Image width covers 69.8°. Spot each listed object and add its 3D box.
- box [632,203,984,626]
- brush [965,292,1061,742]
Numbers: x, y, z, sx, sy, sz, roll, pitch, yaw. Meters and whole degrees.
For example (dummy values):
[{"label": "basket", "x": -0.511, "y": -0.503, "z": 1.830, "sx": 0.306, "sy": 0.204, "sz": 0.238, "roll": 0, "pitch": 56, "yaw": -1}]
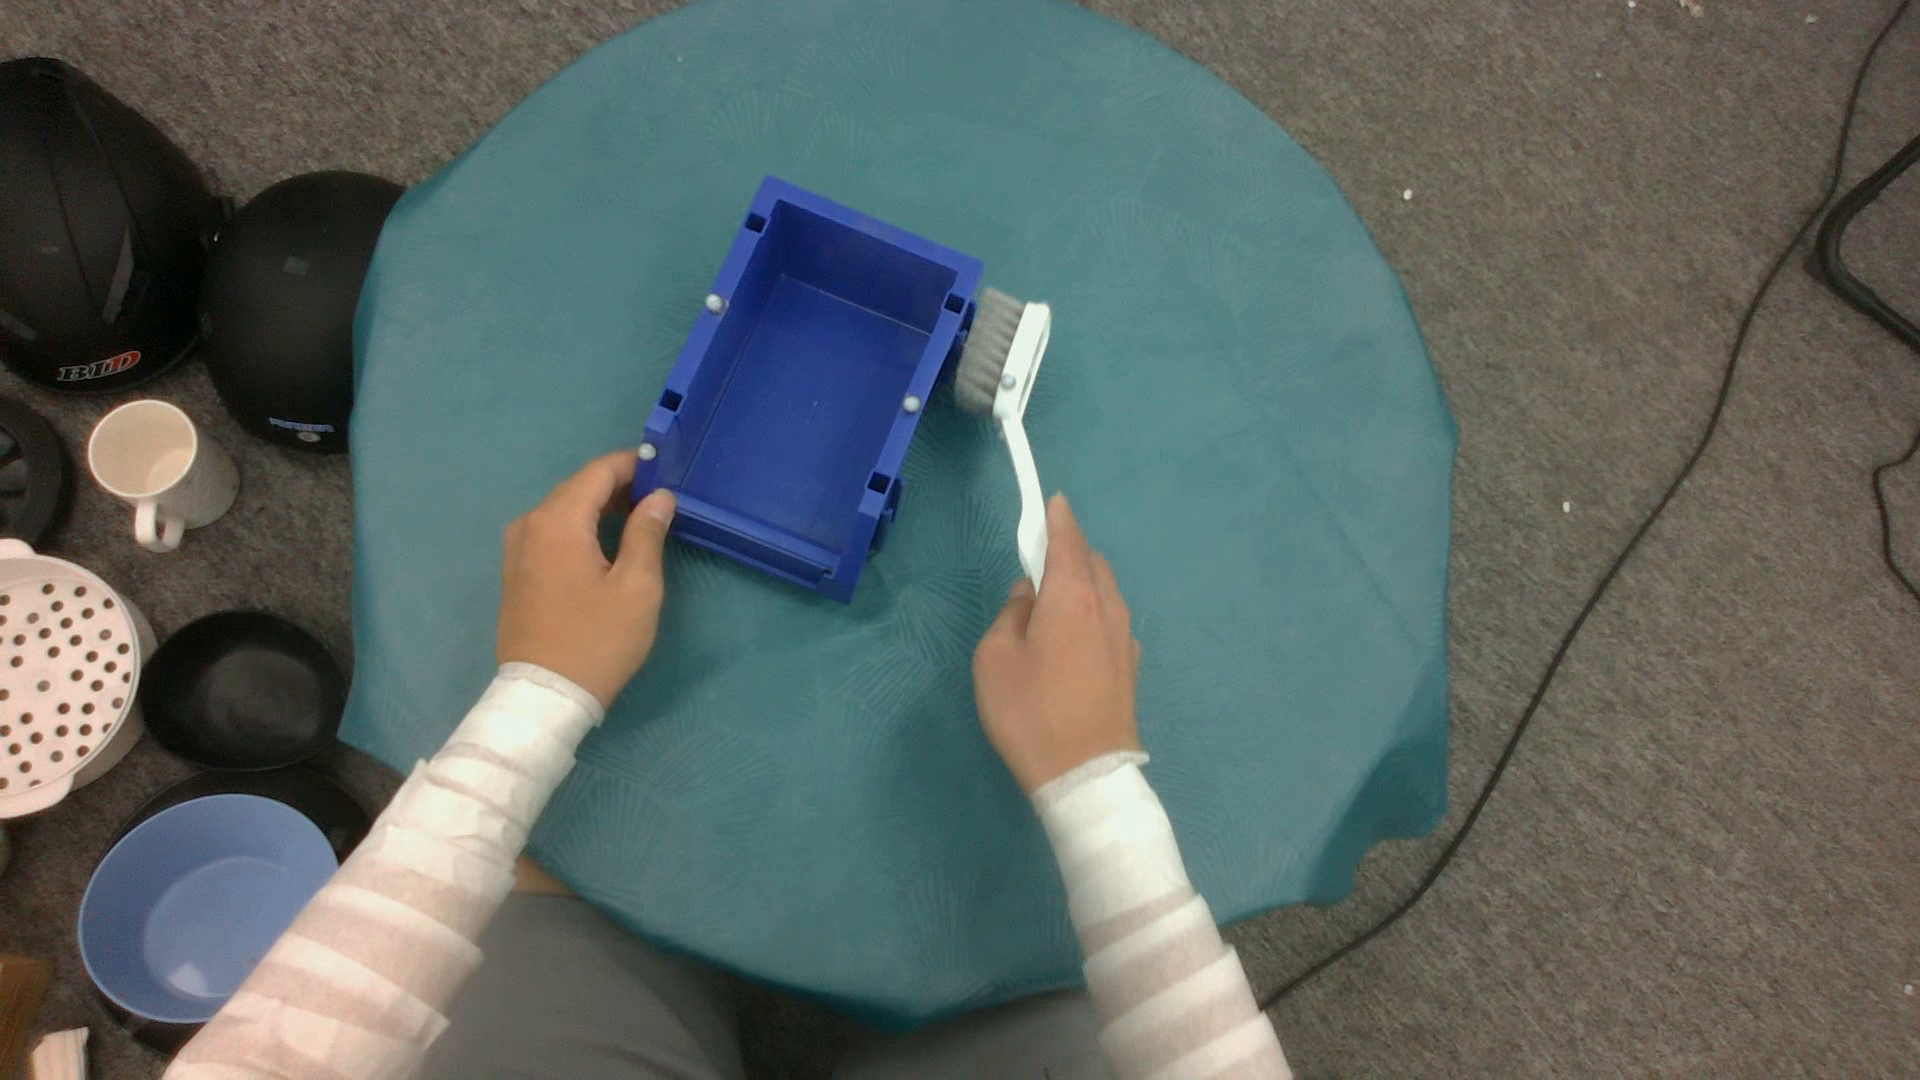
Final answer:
[{"label": "box", "x": -0.077, "y": -0.062, "z": 0.719, "sx": 0.124, "sy": 0.081, "sz": 0.180, "roll": 23, "pitch": 71, "yaw": 0}, {"label": "brush", "x": 0.027, "y": -0.017, "z": 0.708, "sx": 0.050, "sy": 0.034, "sz": 0.244, "roll": -2, "pitch": 70, "yaw": 7}]
